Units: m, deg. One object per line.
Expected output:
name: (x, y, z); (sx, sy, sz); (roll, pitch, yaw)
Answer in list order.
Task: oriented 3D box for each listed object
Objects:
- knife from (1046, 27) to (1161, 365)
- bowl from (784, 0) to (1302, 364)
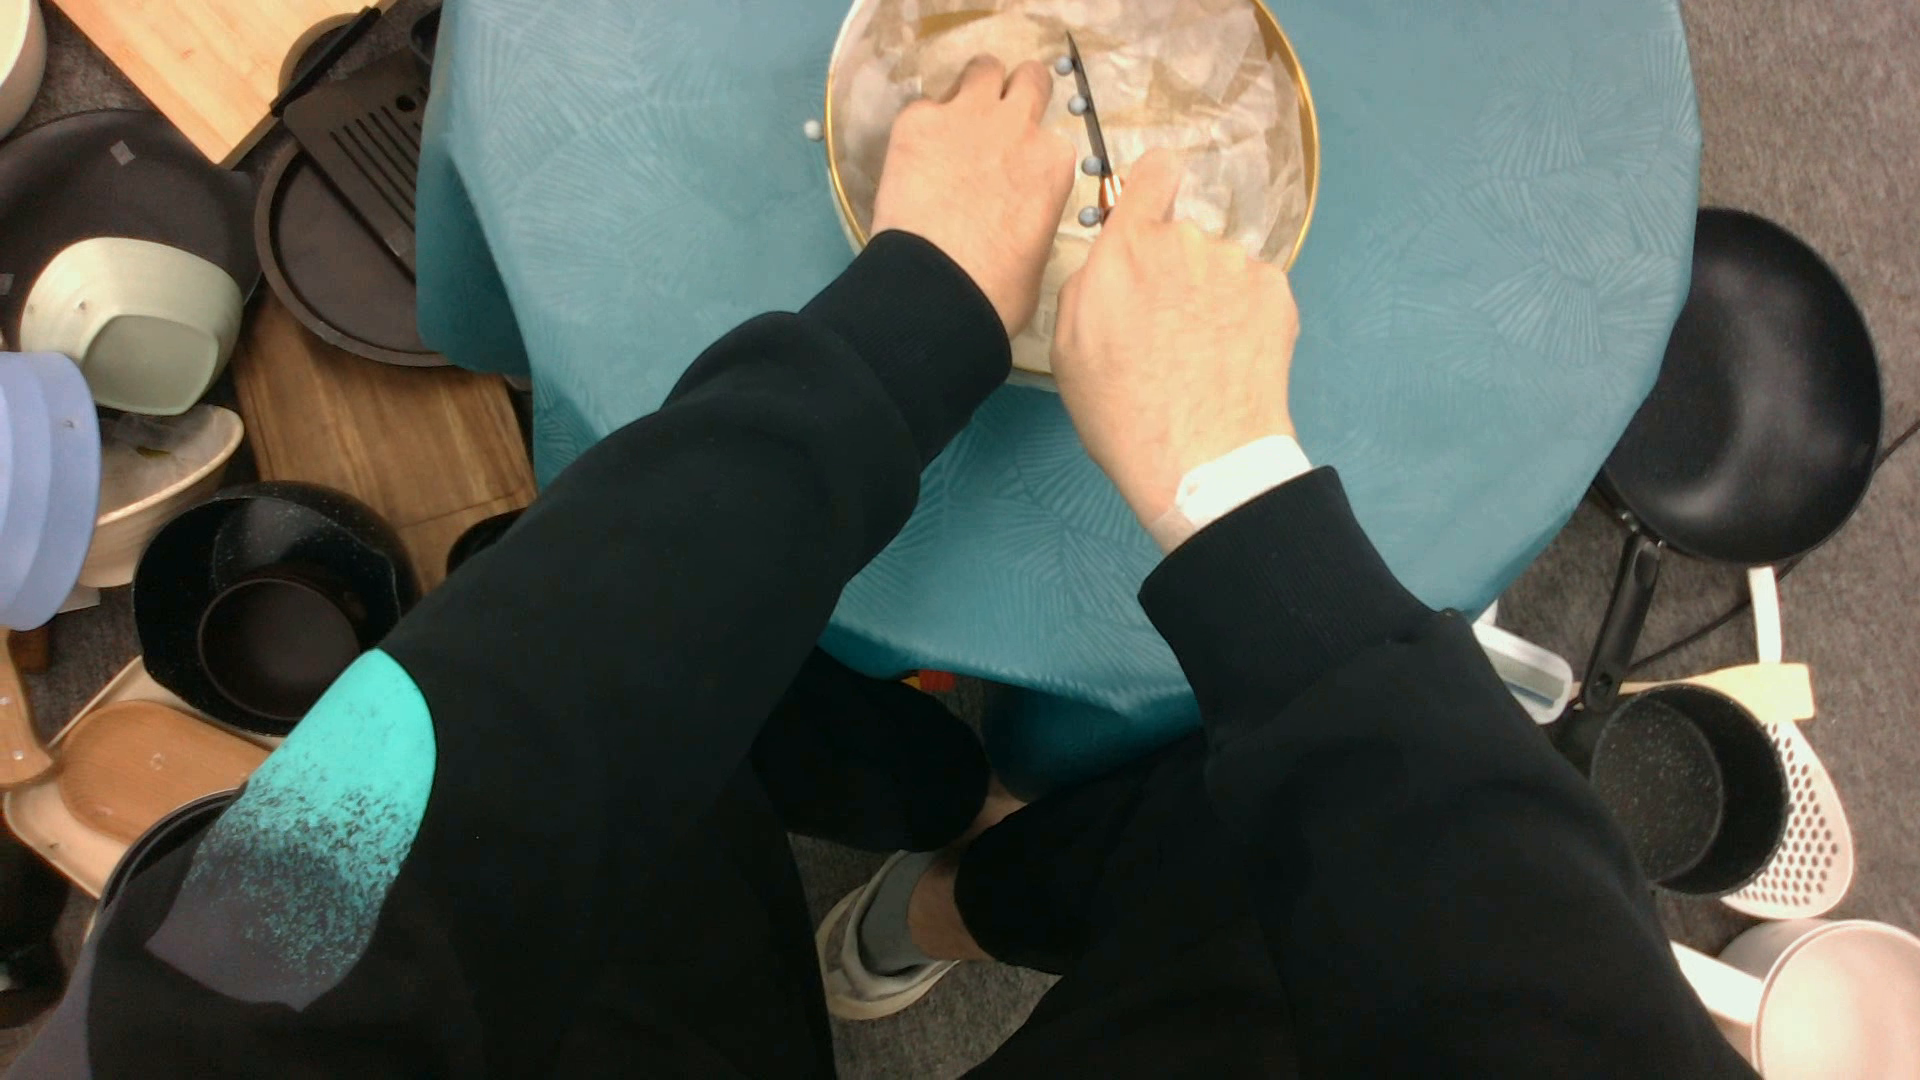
knife: (0.051, -0.149, 0.551); (0.017, 0.026, 0.226); (-21, 49, 15)
bowl: (0.029, -0.160, 0.582); (0.215, 0.094, 0.215); (2, 79, -10)
